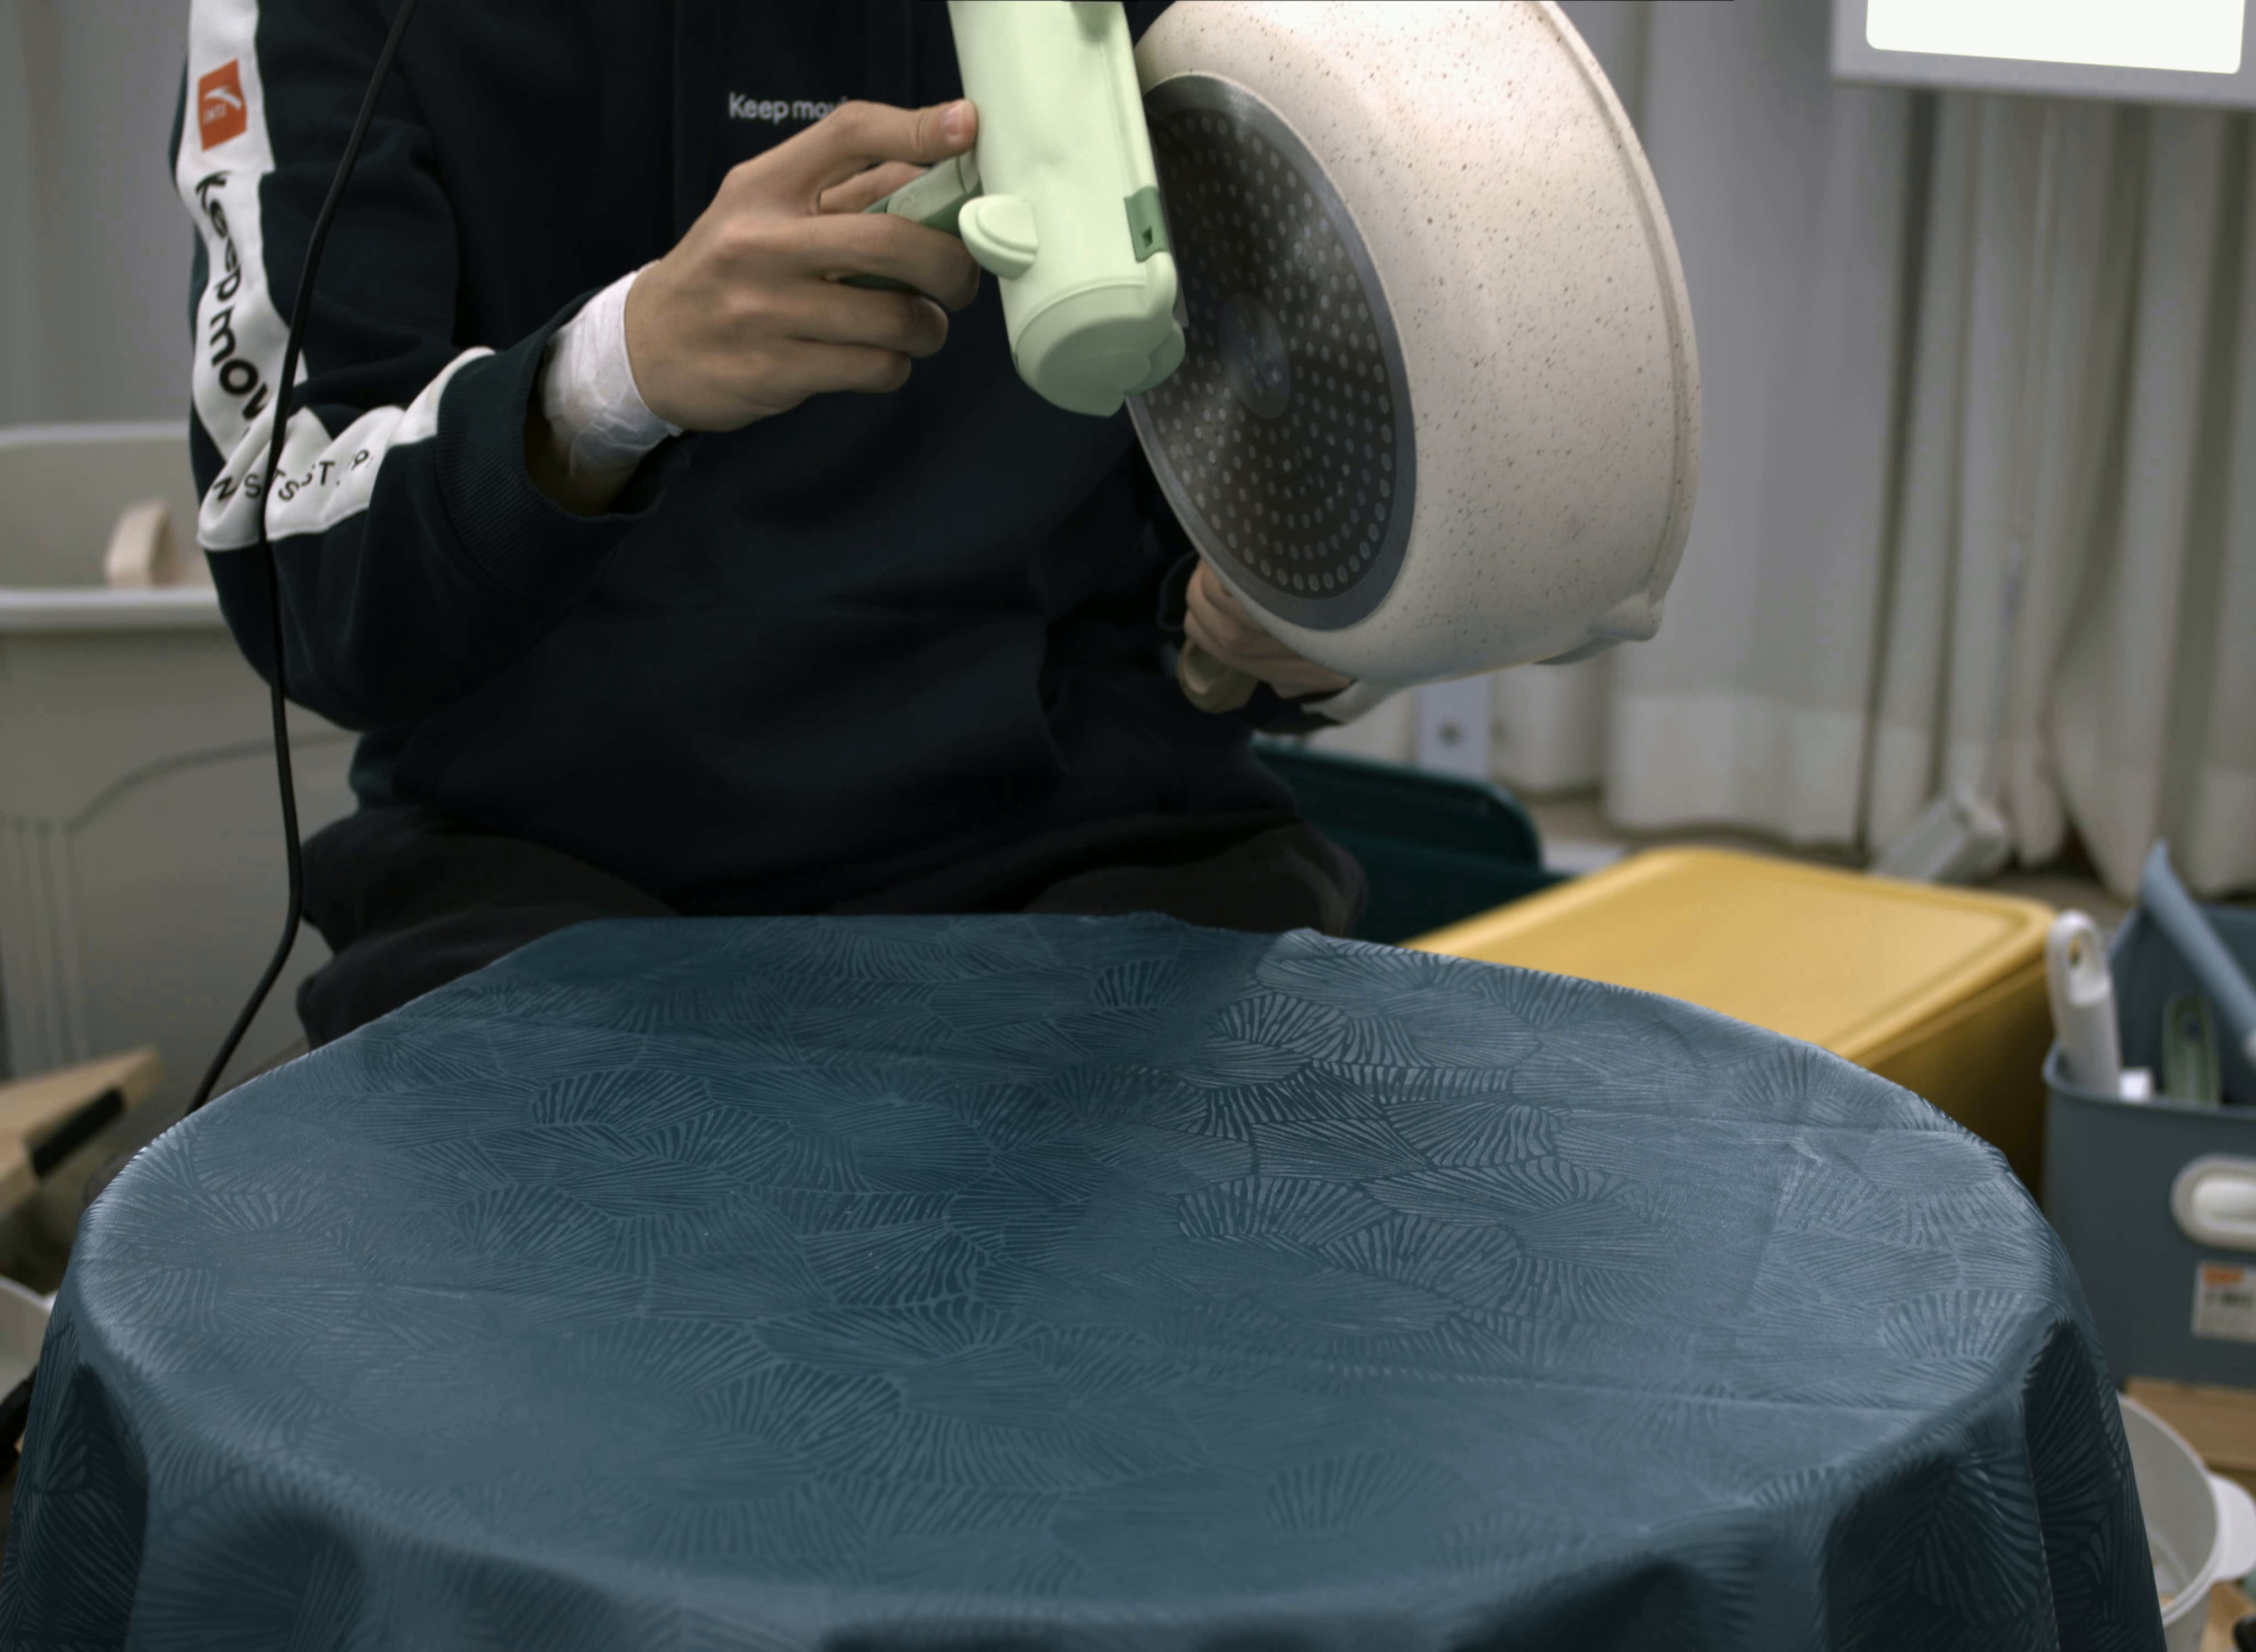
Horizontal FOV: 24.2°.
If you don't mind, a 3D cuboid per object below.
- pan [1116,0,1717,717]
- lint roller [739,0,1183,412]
[{"bbox_3d":[0.055,-0.119,1.748,0.102,0.262,0.436,-23,-14,-26],"label":"pan"},{"bbox_3d":[-0.071,-0.203,1.669,0.182,0.197,0.083,-27,-35,25],"label":"lint roller"}]
